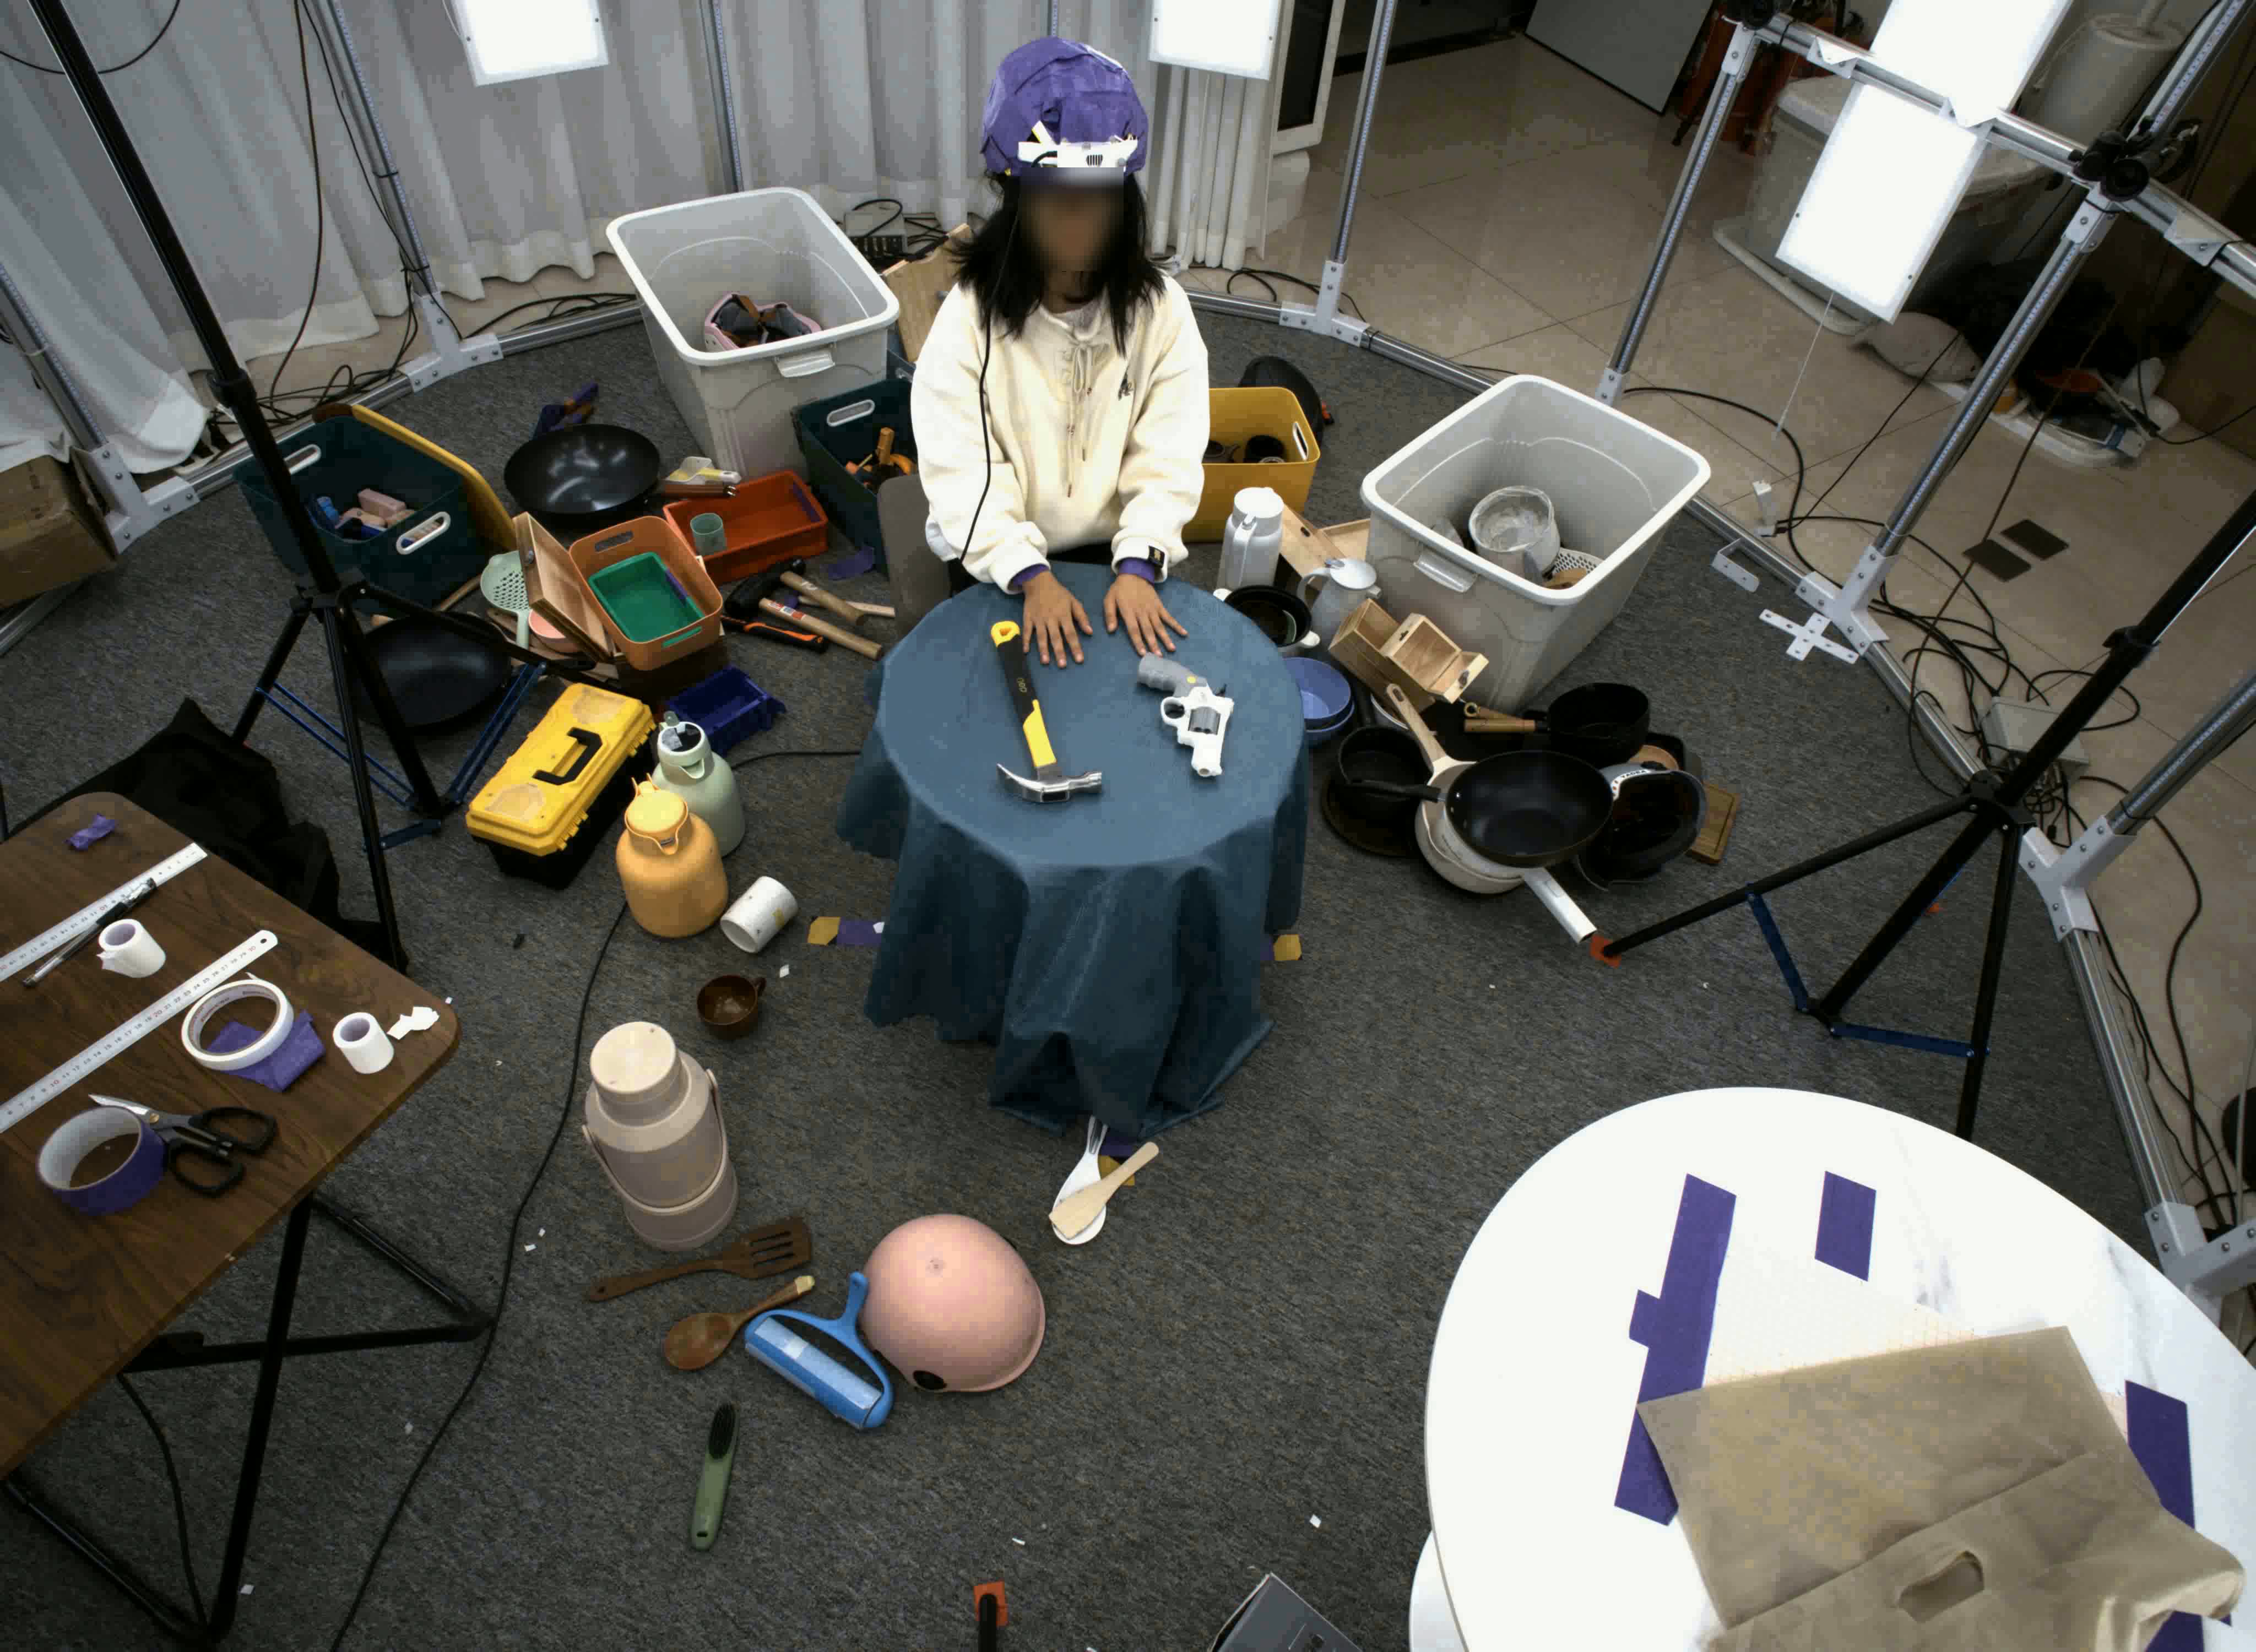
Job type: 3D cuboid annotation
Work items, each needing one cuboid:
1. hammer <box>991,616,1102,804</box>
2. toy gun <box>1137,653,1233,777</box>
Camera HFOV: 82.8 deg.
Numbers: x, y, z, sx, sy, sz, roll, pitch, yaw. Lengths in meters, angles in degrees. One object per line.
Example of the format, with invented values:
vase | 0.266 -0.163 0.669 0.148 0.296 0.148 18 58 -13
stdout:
hammer | -0.139 -0.169 1.782 0.131 0.031 0.347 -10 52 -10
toy gun | 0.074 -0.158 1.787 0.141 0.038 0.214 8 49 3
